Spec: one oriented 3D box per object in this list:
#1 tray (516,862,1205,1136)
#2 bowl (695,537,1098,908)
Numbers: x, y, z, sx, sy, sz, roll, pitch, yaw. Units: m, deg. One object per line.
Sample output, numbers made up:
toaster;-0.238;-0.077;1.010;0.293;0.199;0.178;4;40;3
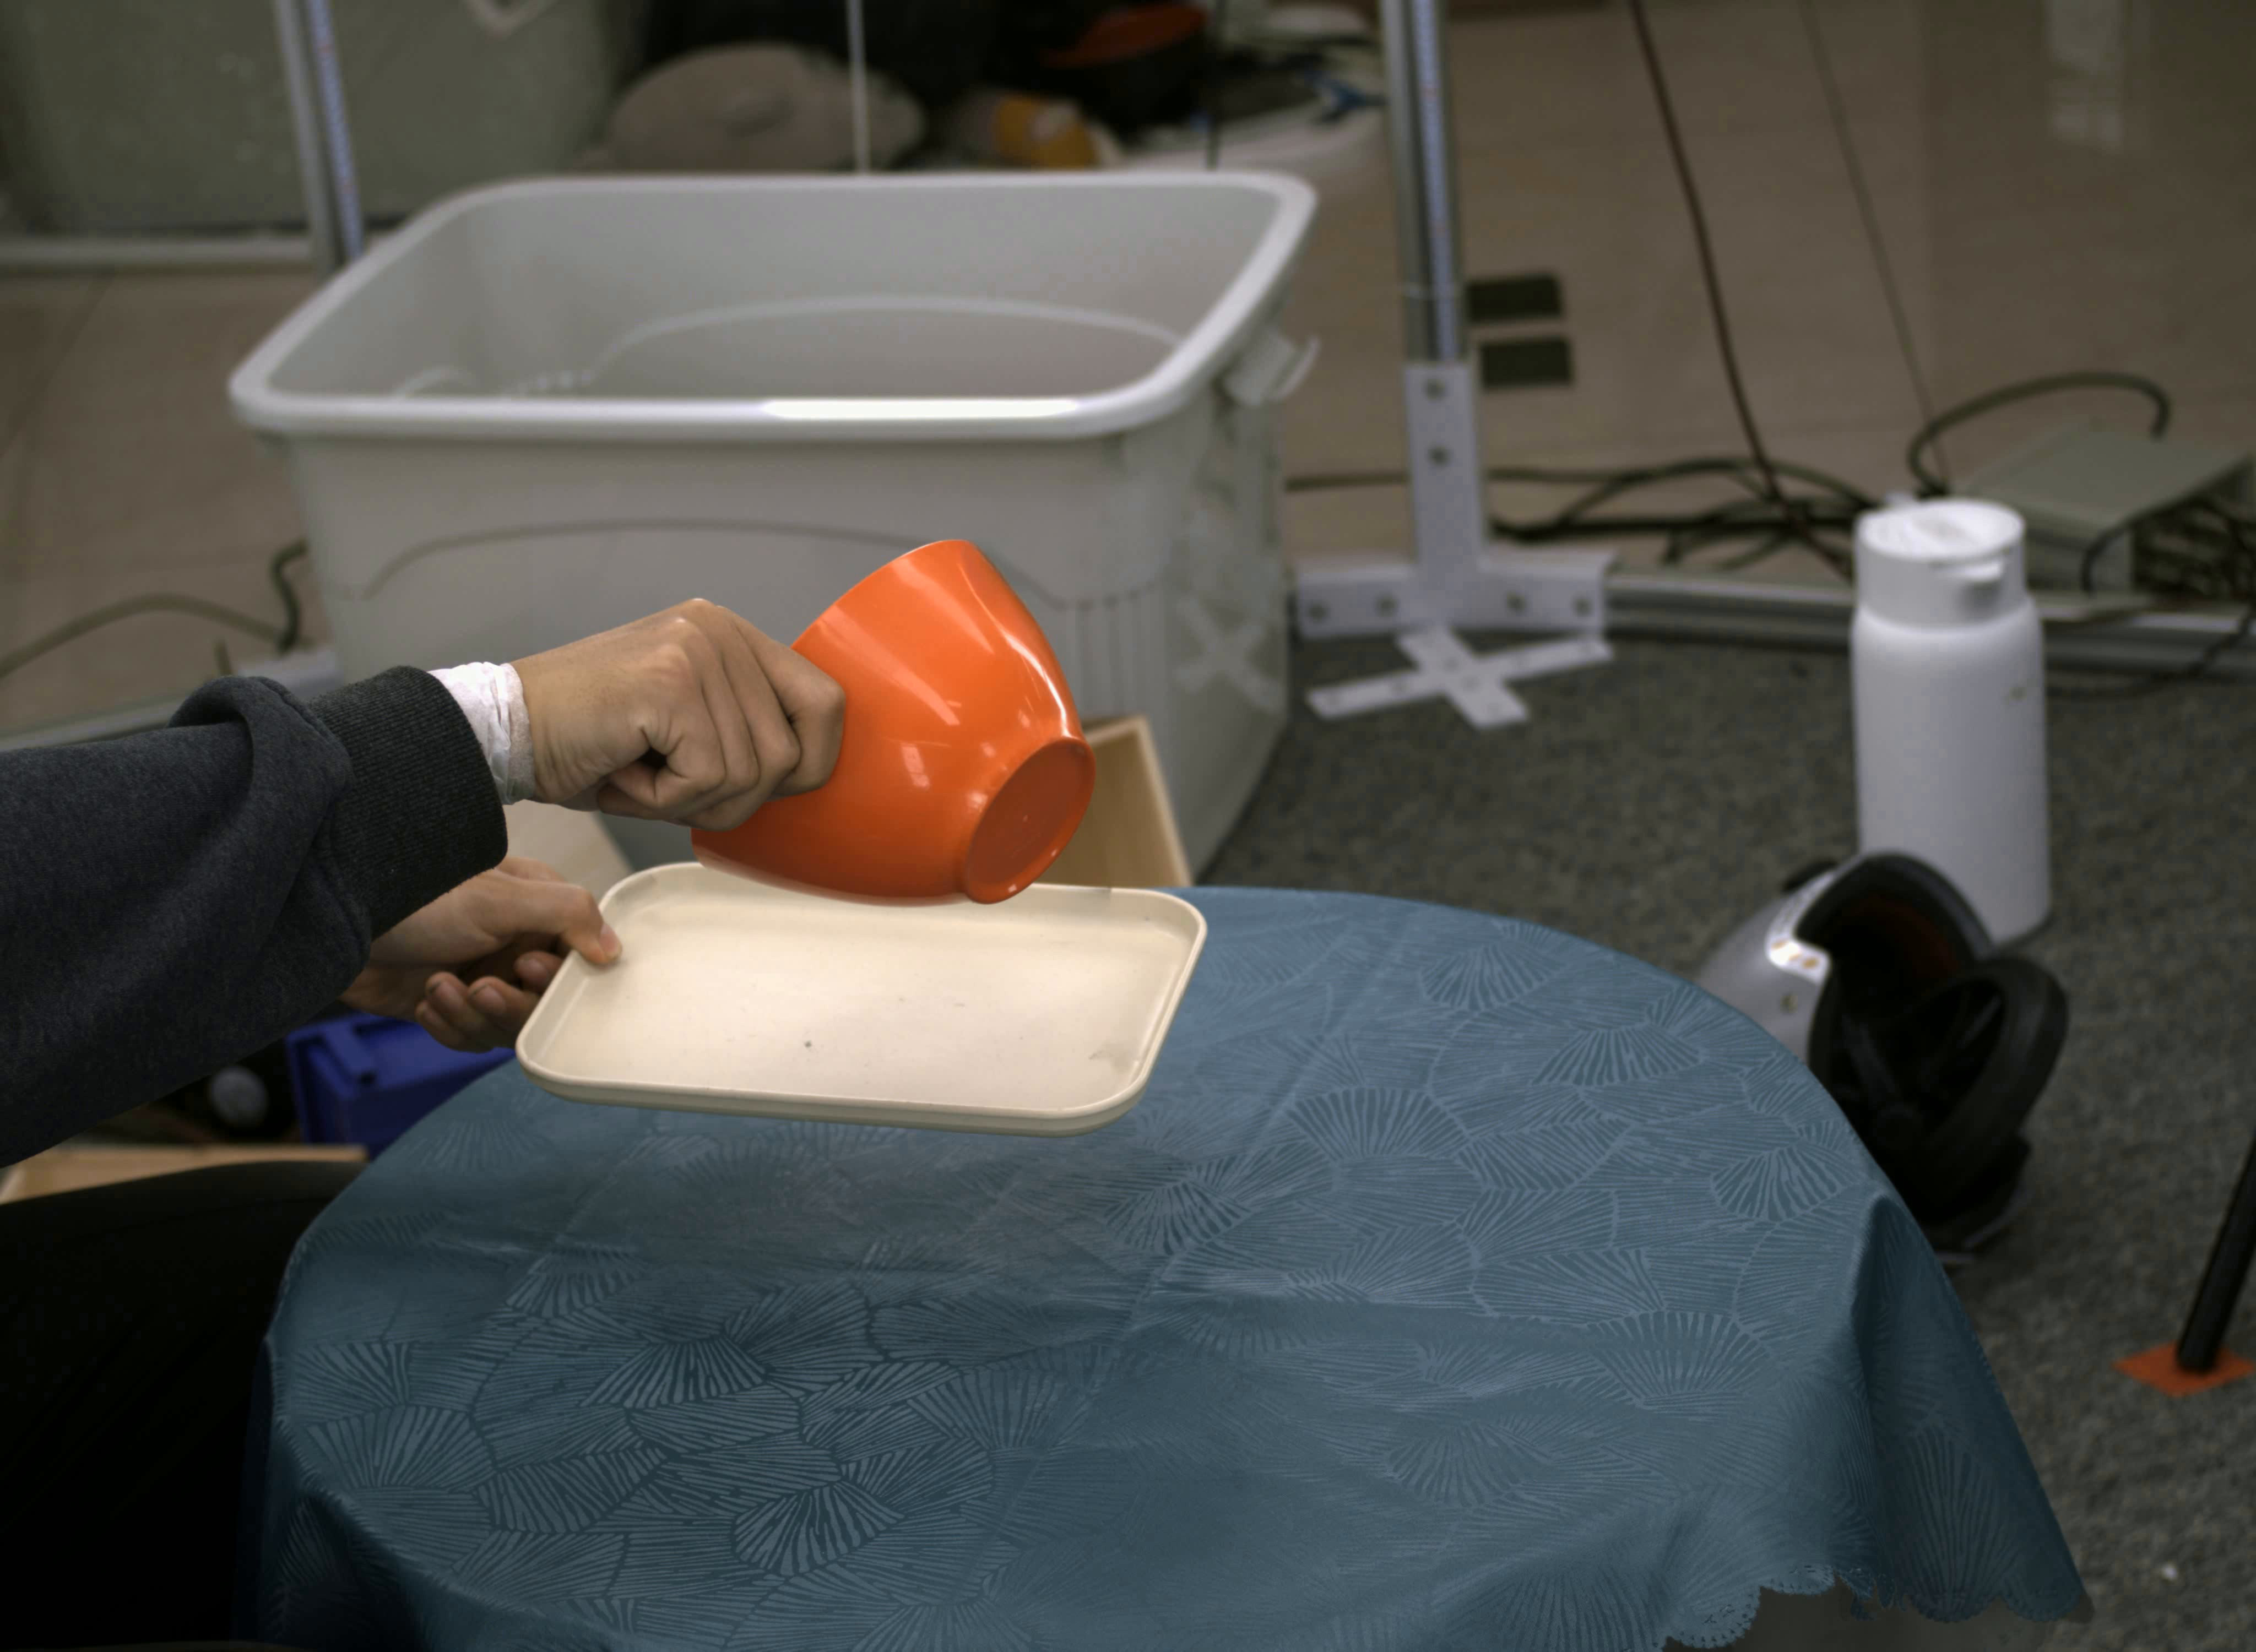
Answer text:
tray;-0.098;0.065;2.120;0.239;0.018;0.168;3;30;12
bowl;-0.069;-0.021;1.963;0.103;0.151;0.146;36;44;28
